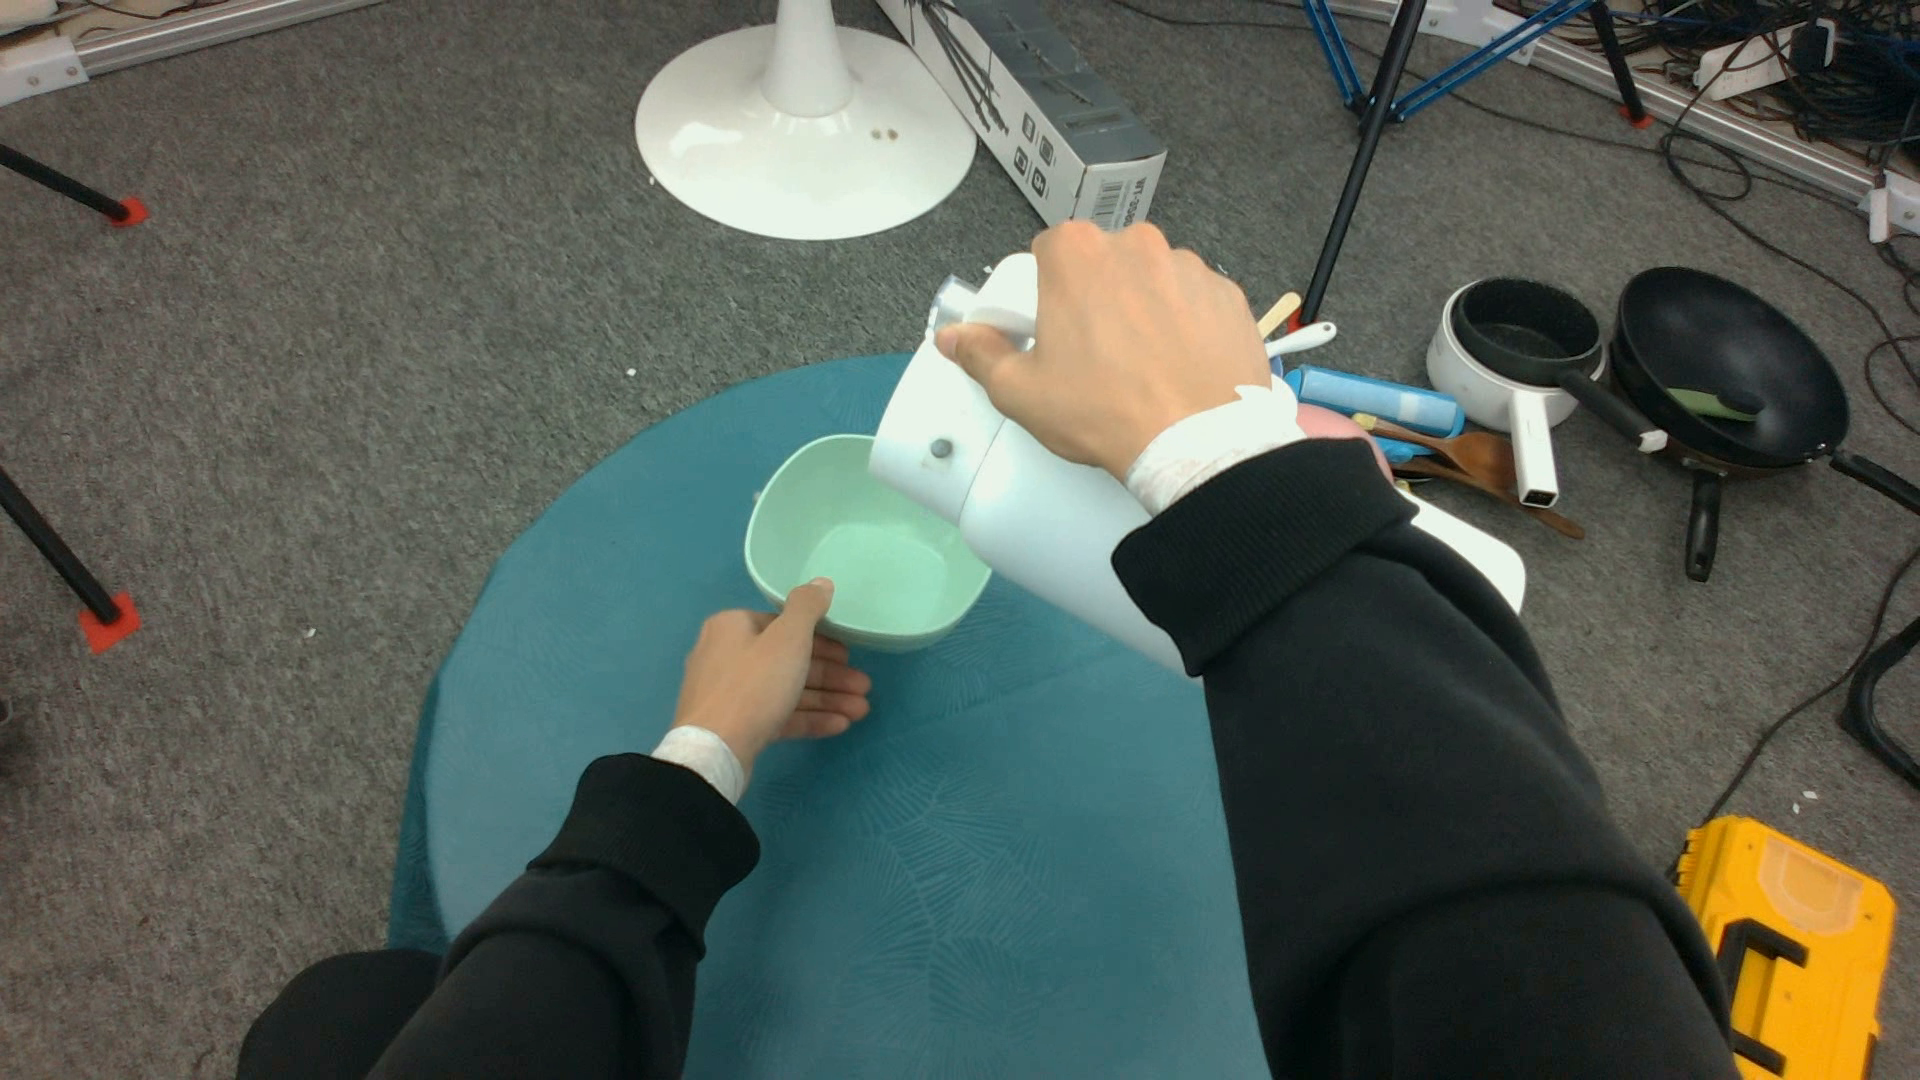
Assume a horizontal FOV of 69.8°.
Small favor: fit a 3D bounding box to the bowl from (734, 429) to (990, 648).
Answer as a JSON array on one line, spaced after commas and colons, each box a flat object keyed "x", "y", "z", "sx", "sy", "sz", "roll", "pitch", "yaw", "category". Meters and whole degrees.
[{"x": -0.055, "y": 0.008, "z": 0.789, "sx": 0.151, "sy": 0.058, "sz": 0.152, "roll": 4, "pitch": 51, "yaw": -5, "category": "bowl"}]

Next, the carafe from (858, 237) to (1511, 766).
[{"x": 0.097, "y": -0.022, "z": 0.592, "sx": 0.269, "sy": 0.172, "sz": 0.124, "roll": 31, "pitch": 61, "yaw": 7, "category": "carafe"}]
